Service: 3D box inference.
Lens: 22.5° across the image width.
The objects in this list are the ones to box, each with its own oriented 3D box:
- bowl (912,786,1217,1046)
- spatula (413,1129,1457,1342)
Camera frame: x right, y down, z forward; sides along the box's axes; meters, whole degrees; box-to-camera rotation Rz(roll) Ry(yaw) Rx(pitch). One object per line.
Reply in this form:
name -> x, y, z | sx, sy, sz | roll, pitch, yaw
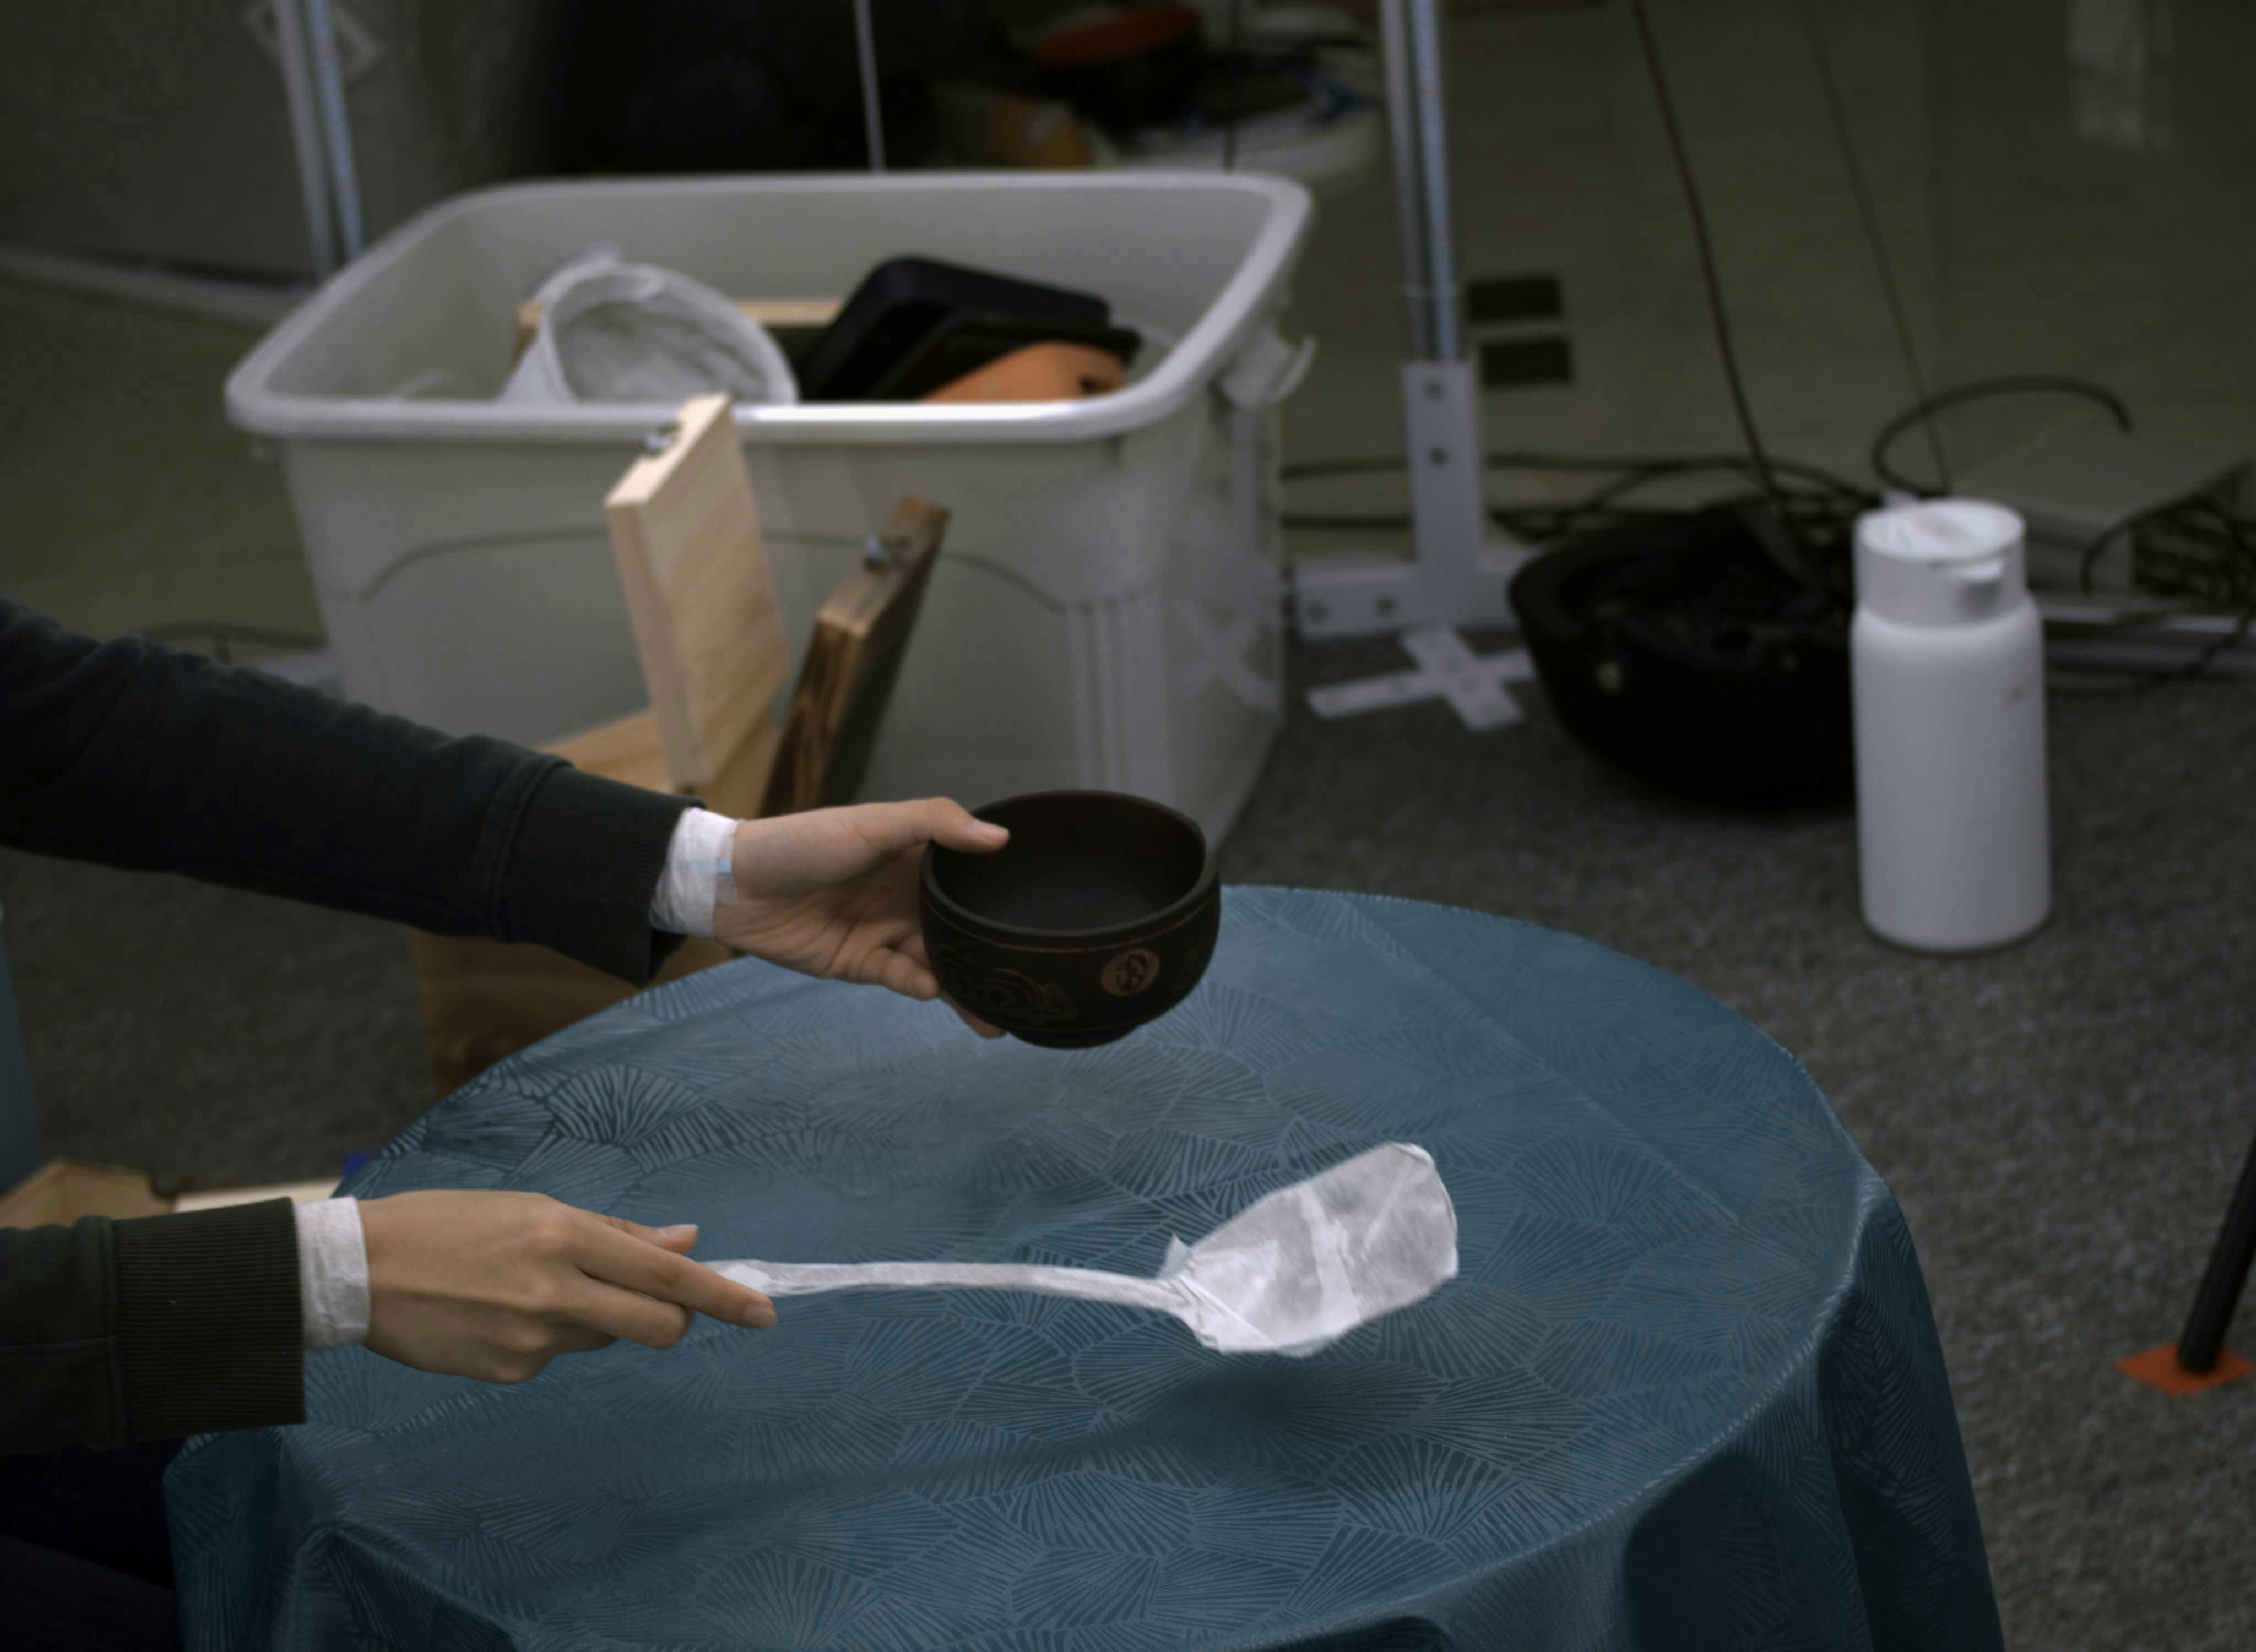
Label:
bowl -> -0.024, 0.041, 2.180 | 0.118, 0.071, 0.116 | -1, 28, 1
spatula -> -0.068, 0.150, 1.974 | 0.364, 0.045, 0.097 | -1, 33, -3
